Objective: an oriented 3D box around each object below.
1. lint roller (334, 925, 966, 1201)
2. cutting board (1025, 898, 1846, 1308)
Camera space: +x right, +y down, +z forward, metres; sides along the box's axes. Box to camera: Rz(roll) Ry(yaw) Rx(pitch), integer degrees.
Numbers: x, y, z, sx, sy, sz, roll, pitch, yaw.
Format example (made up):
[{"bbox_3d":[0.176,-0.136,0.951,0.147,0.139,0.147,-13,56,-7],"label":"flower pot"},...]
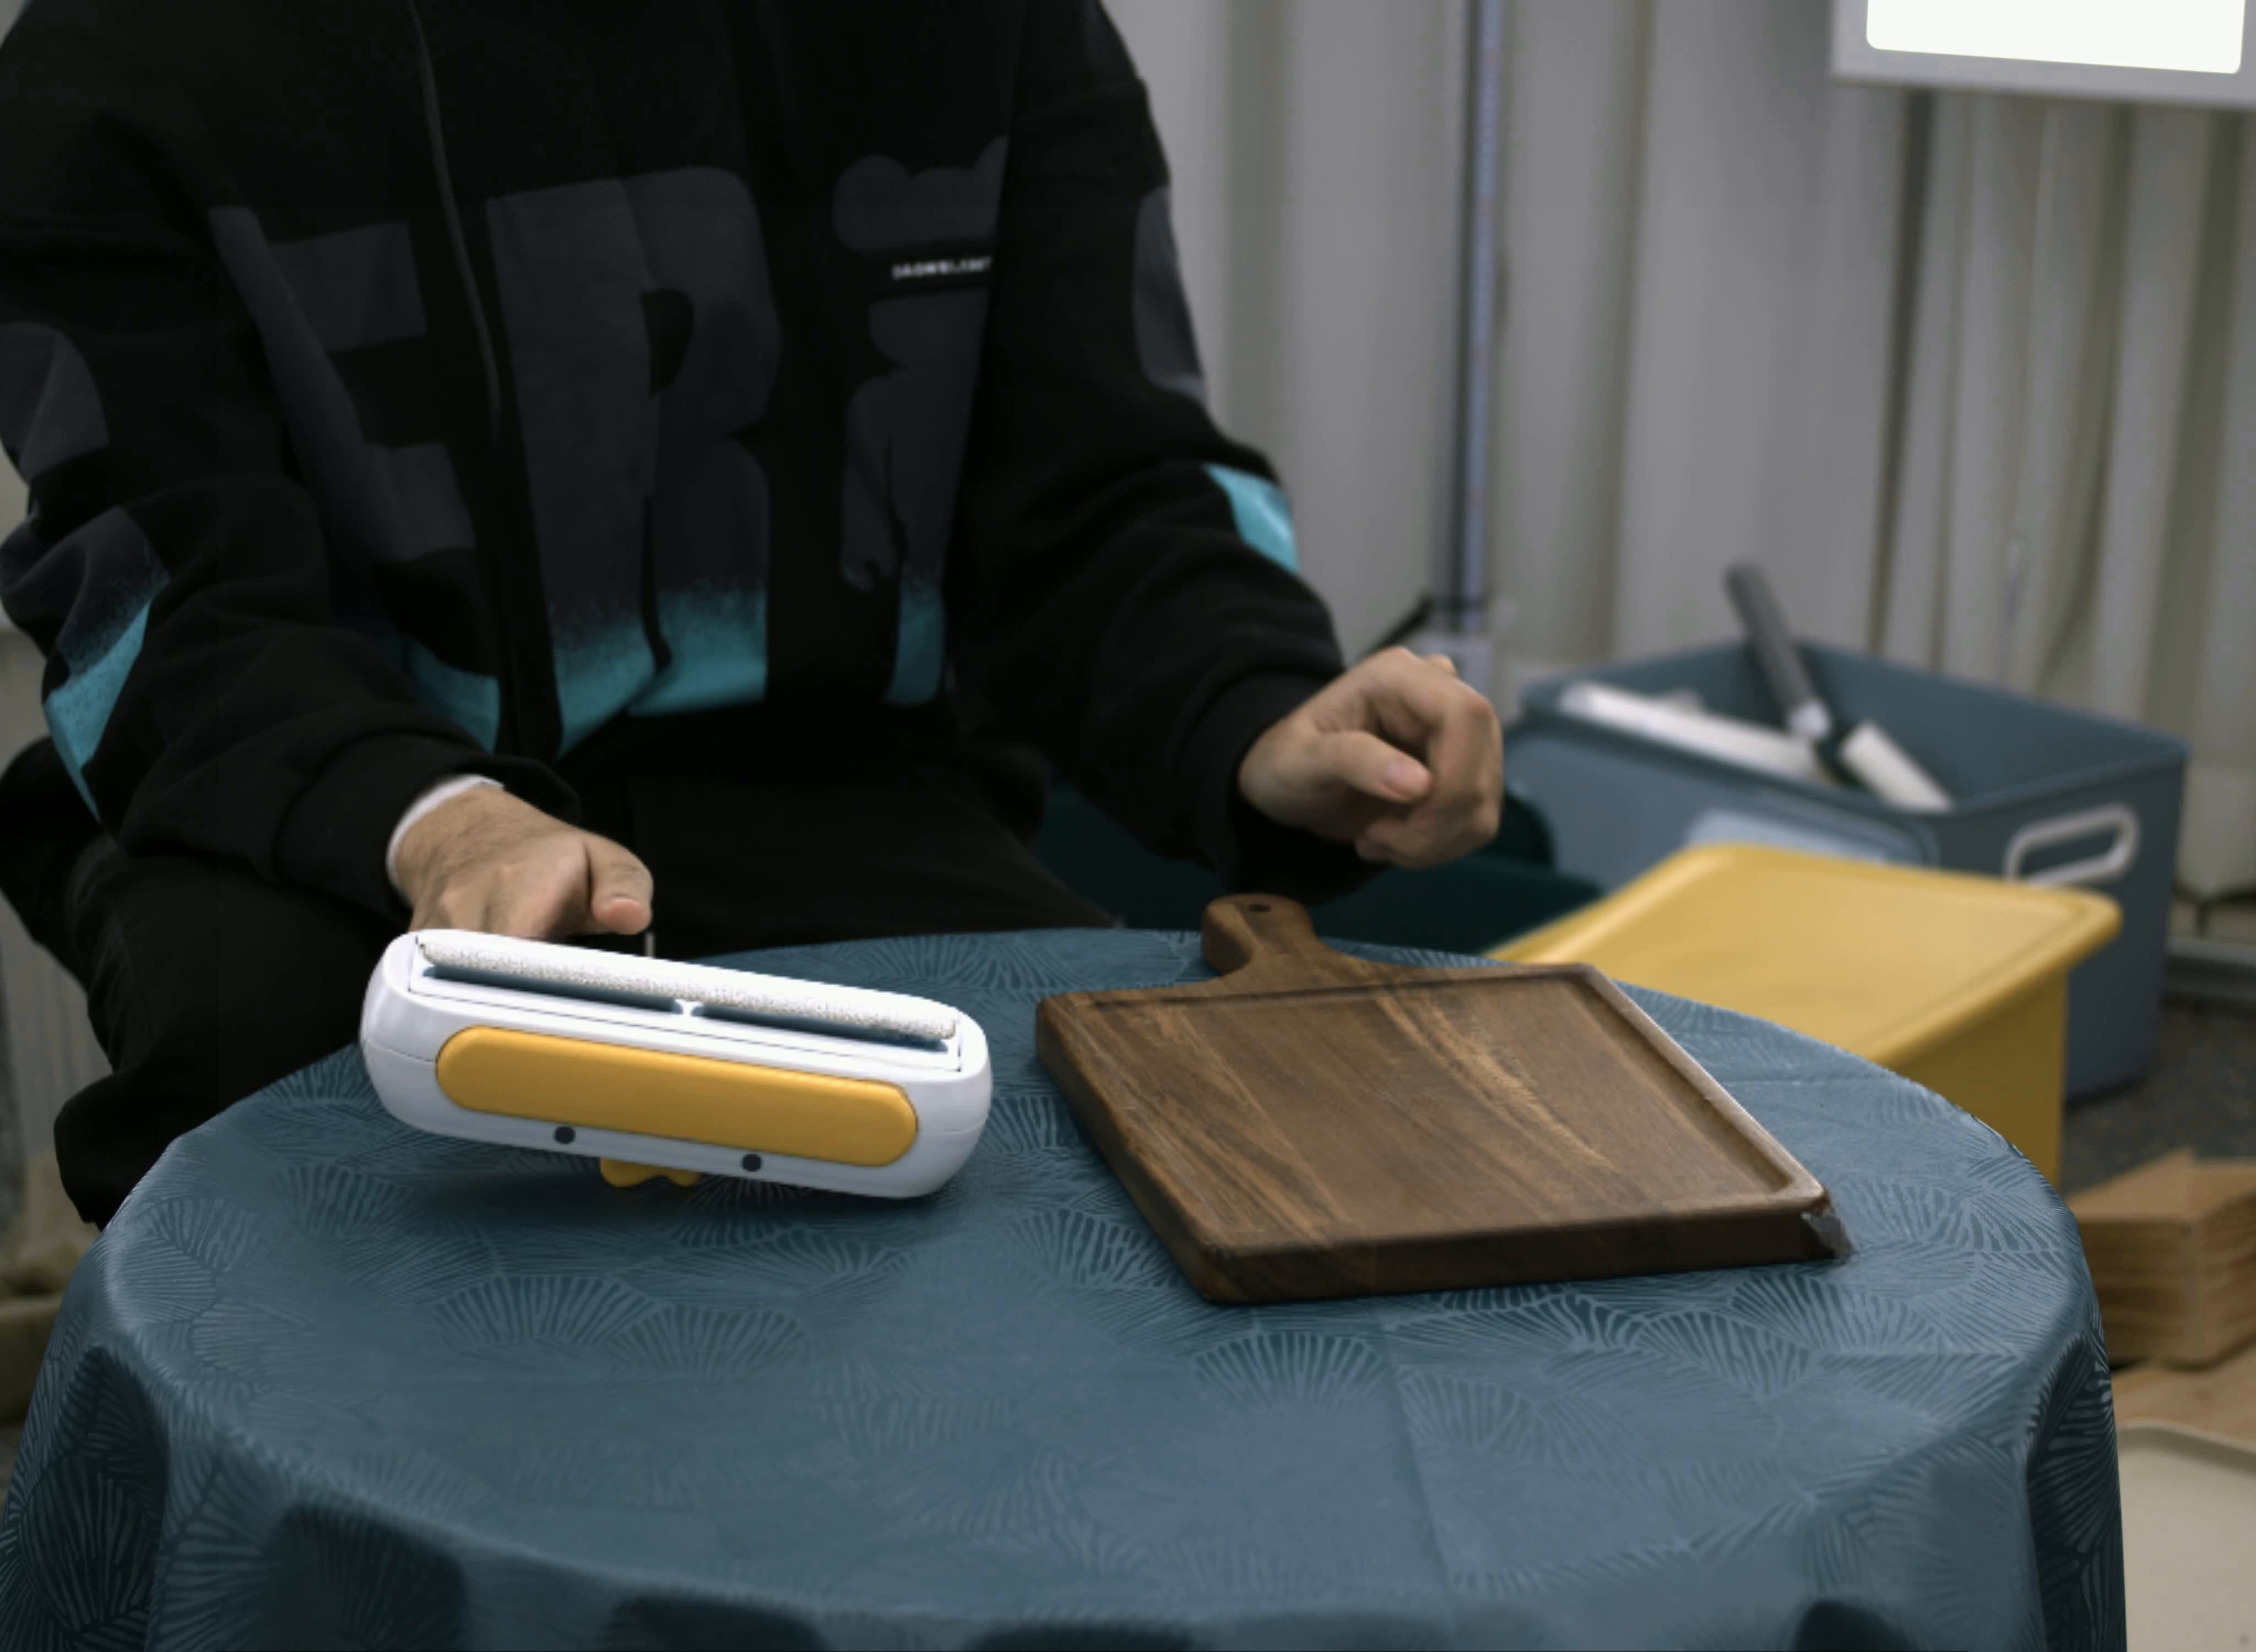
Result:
[{"bbox_3d":[-0.147,0.064,1.662,0.192,0.075,0.191,5,14,-3],"label":"lint roller"},{"bbox_3d":[0.079,0.080,1.699,0.201,0.023,0.349,-3,16,-14],"label":"cutting board"}]
